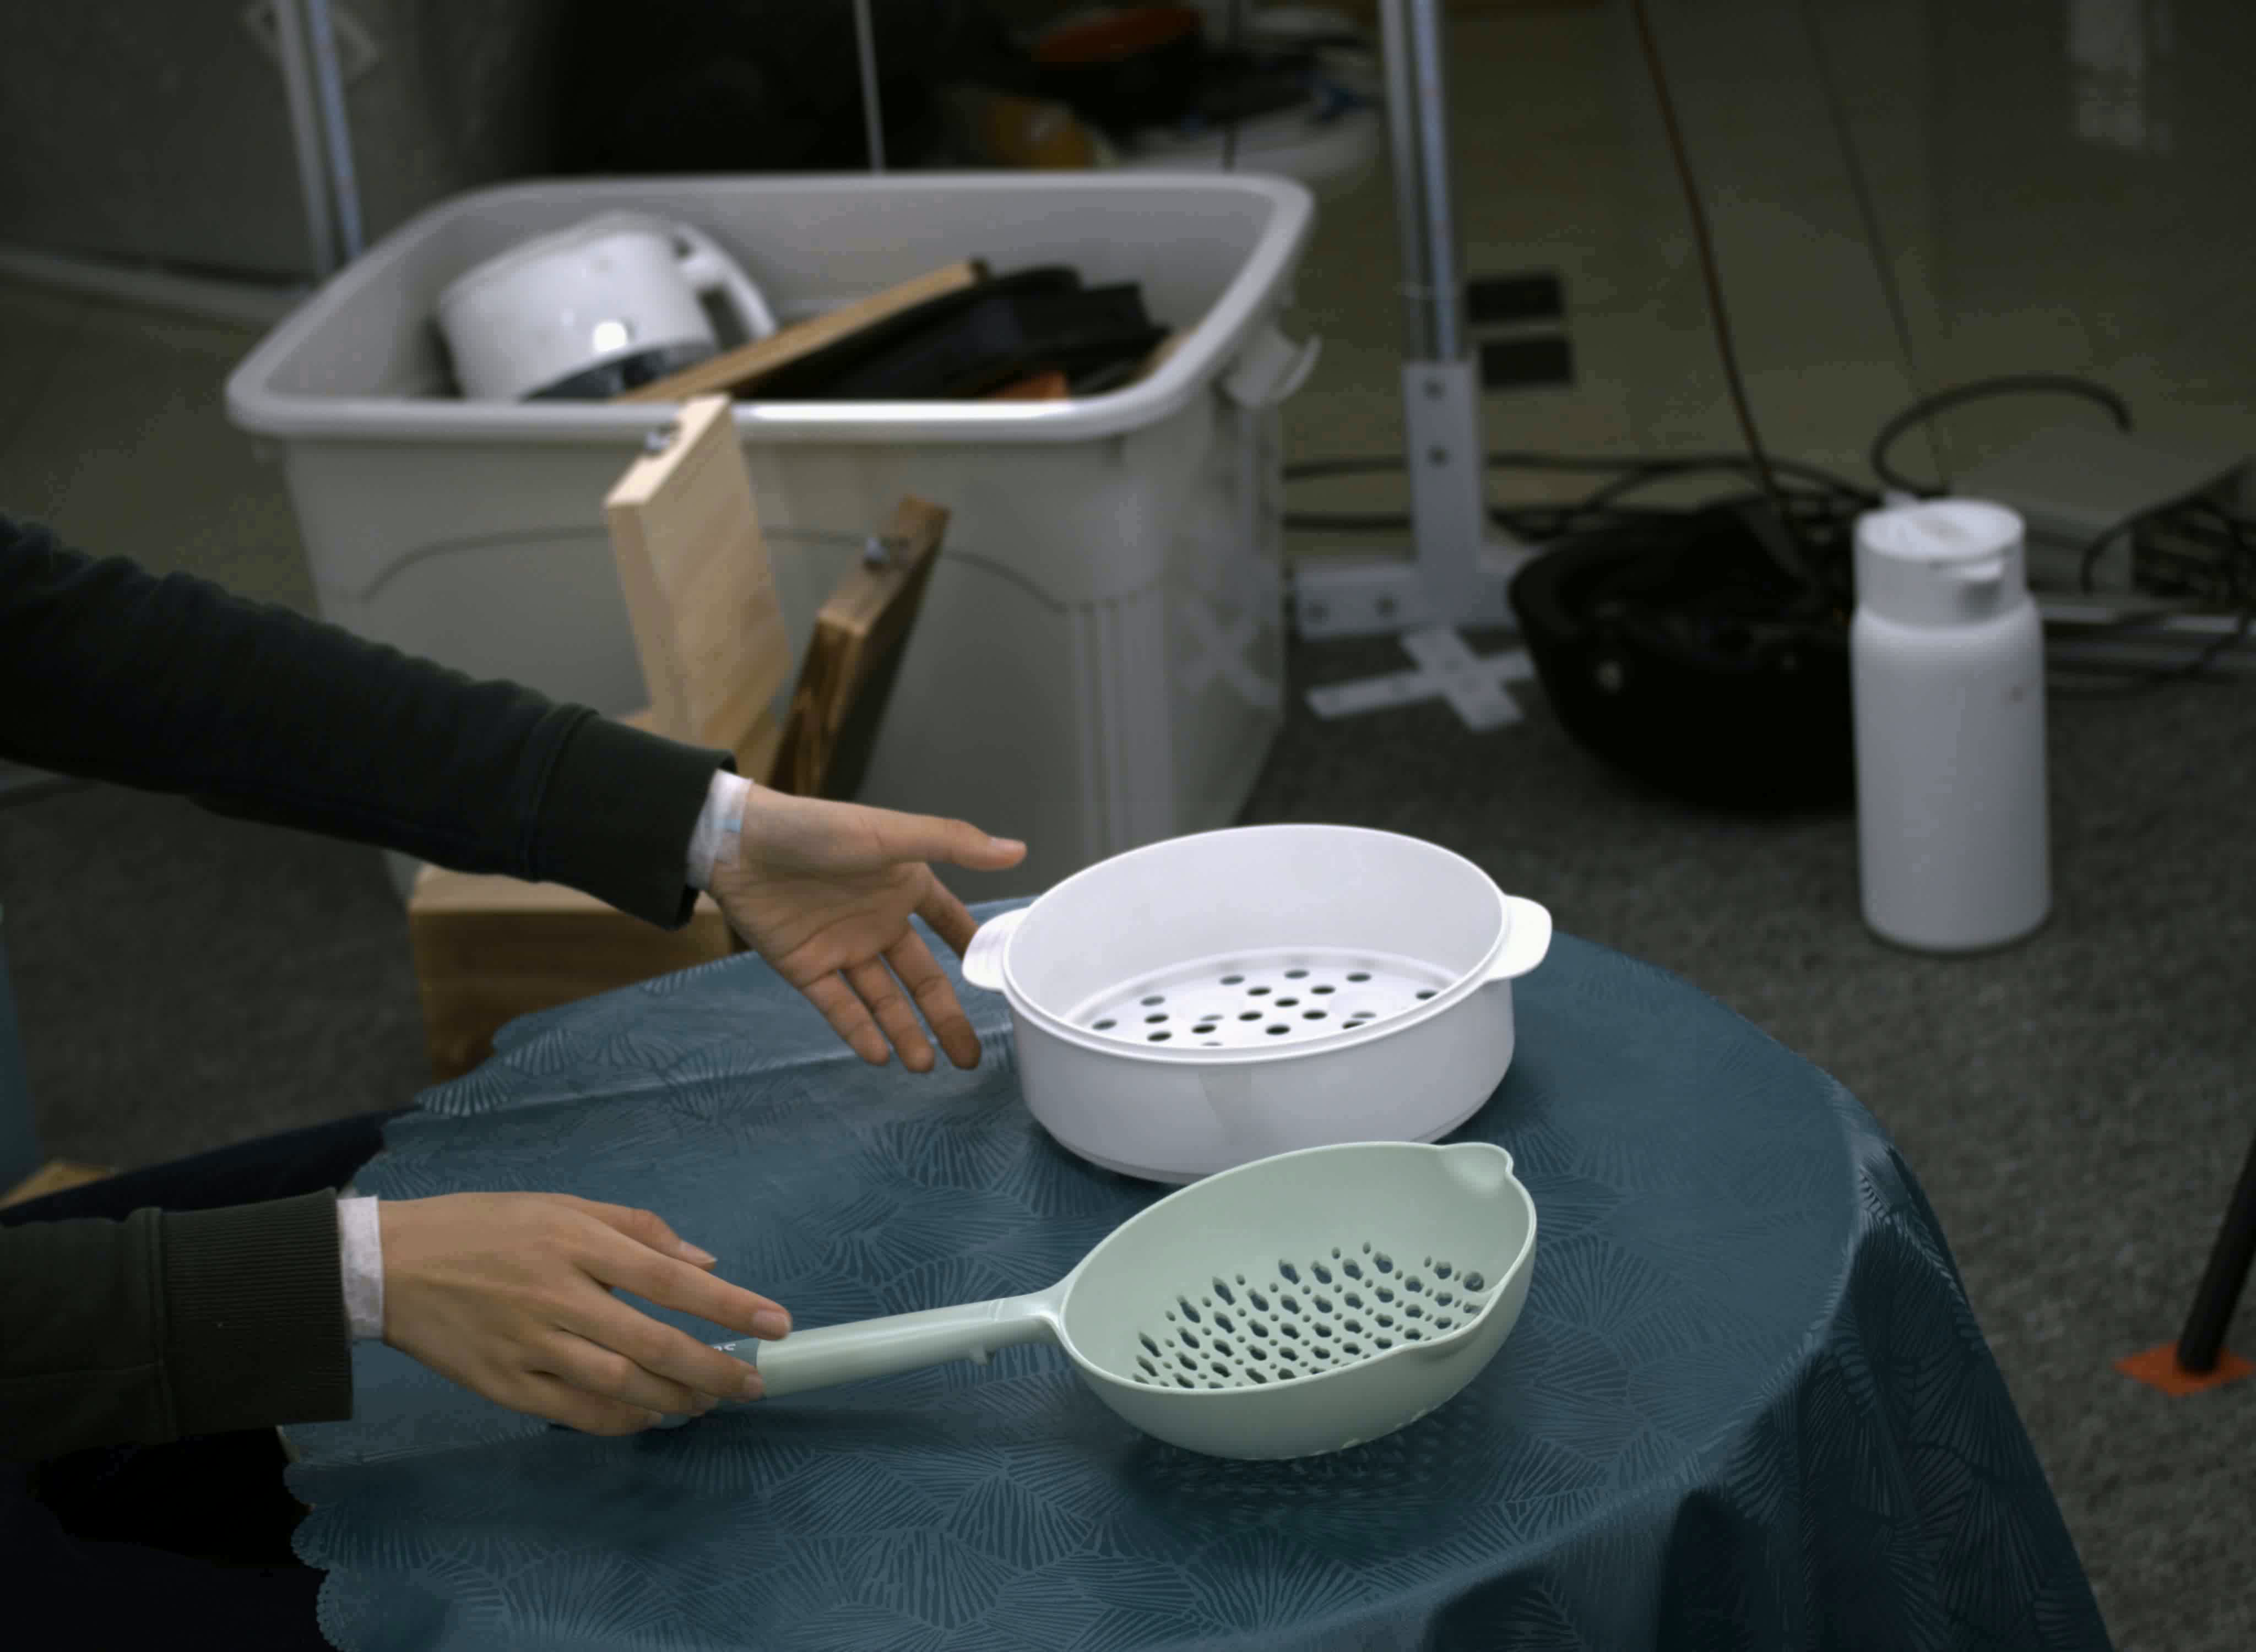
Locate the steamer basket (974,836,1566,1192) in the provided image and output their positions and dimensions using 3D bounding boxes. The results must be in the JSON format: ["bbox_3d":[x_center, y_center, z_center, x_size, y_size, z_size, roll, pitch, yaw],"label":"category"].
[{"bbox_3d":[0.057,0.073,2.204,0.230,0.070,0.199,-2,24,10],"label":"steamer basket"}]

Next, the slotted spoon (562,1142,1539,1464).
[{"bbox_3d":[-0.032,0.179,1.998,0.358,0.076,0.167,-2,25,10],"label":"slotted spoon"}]
